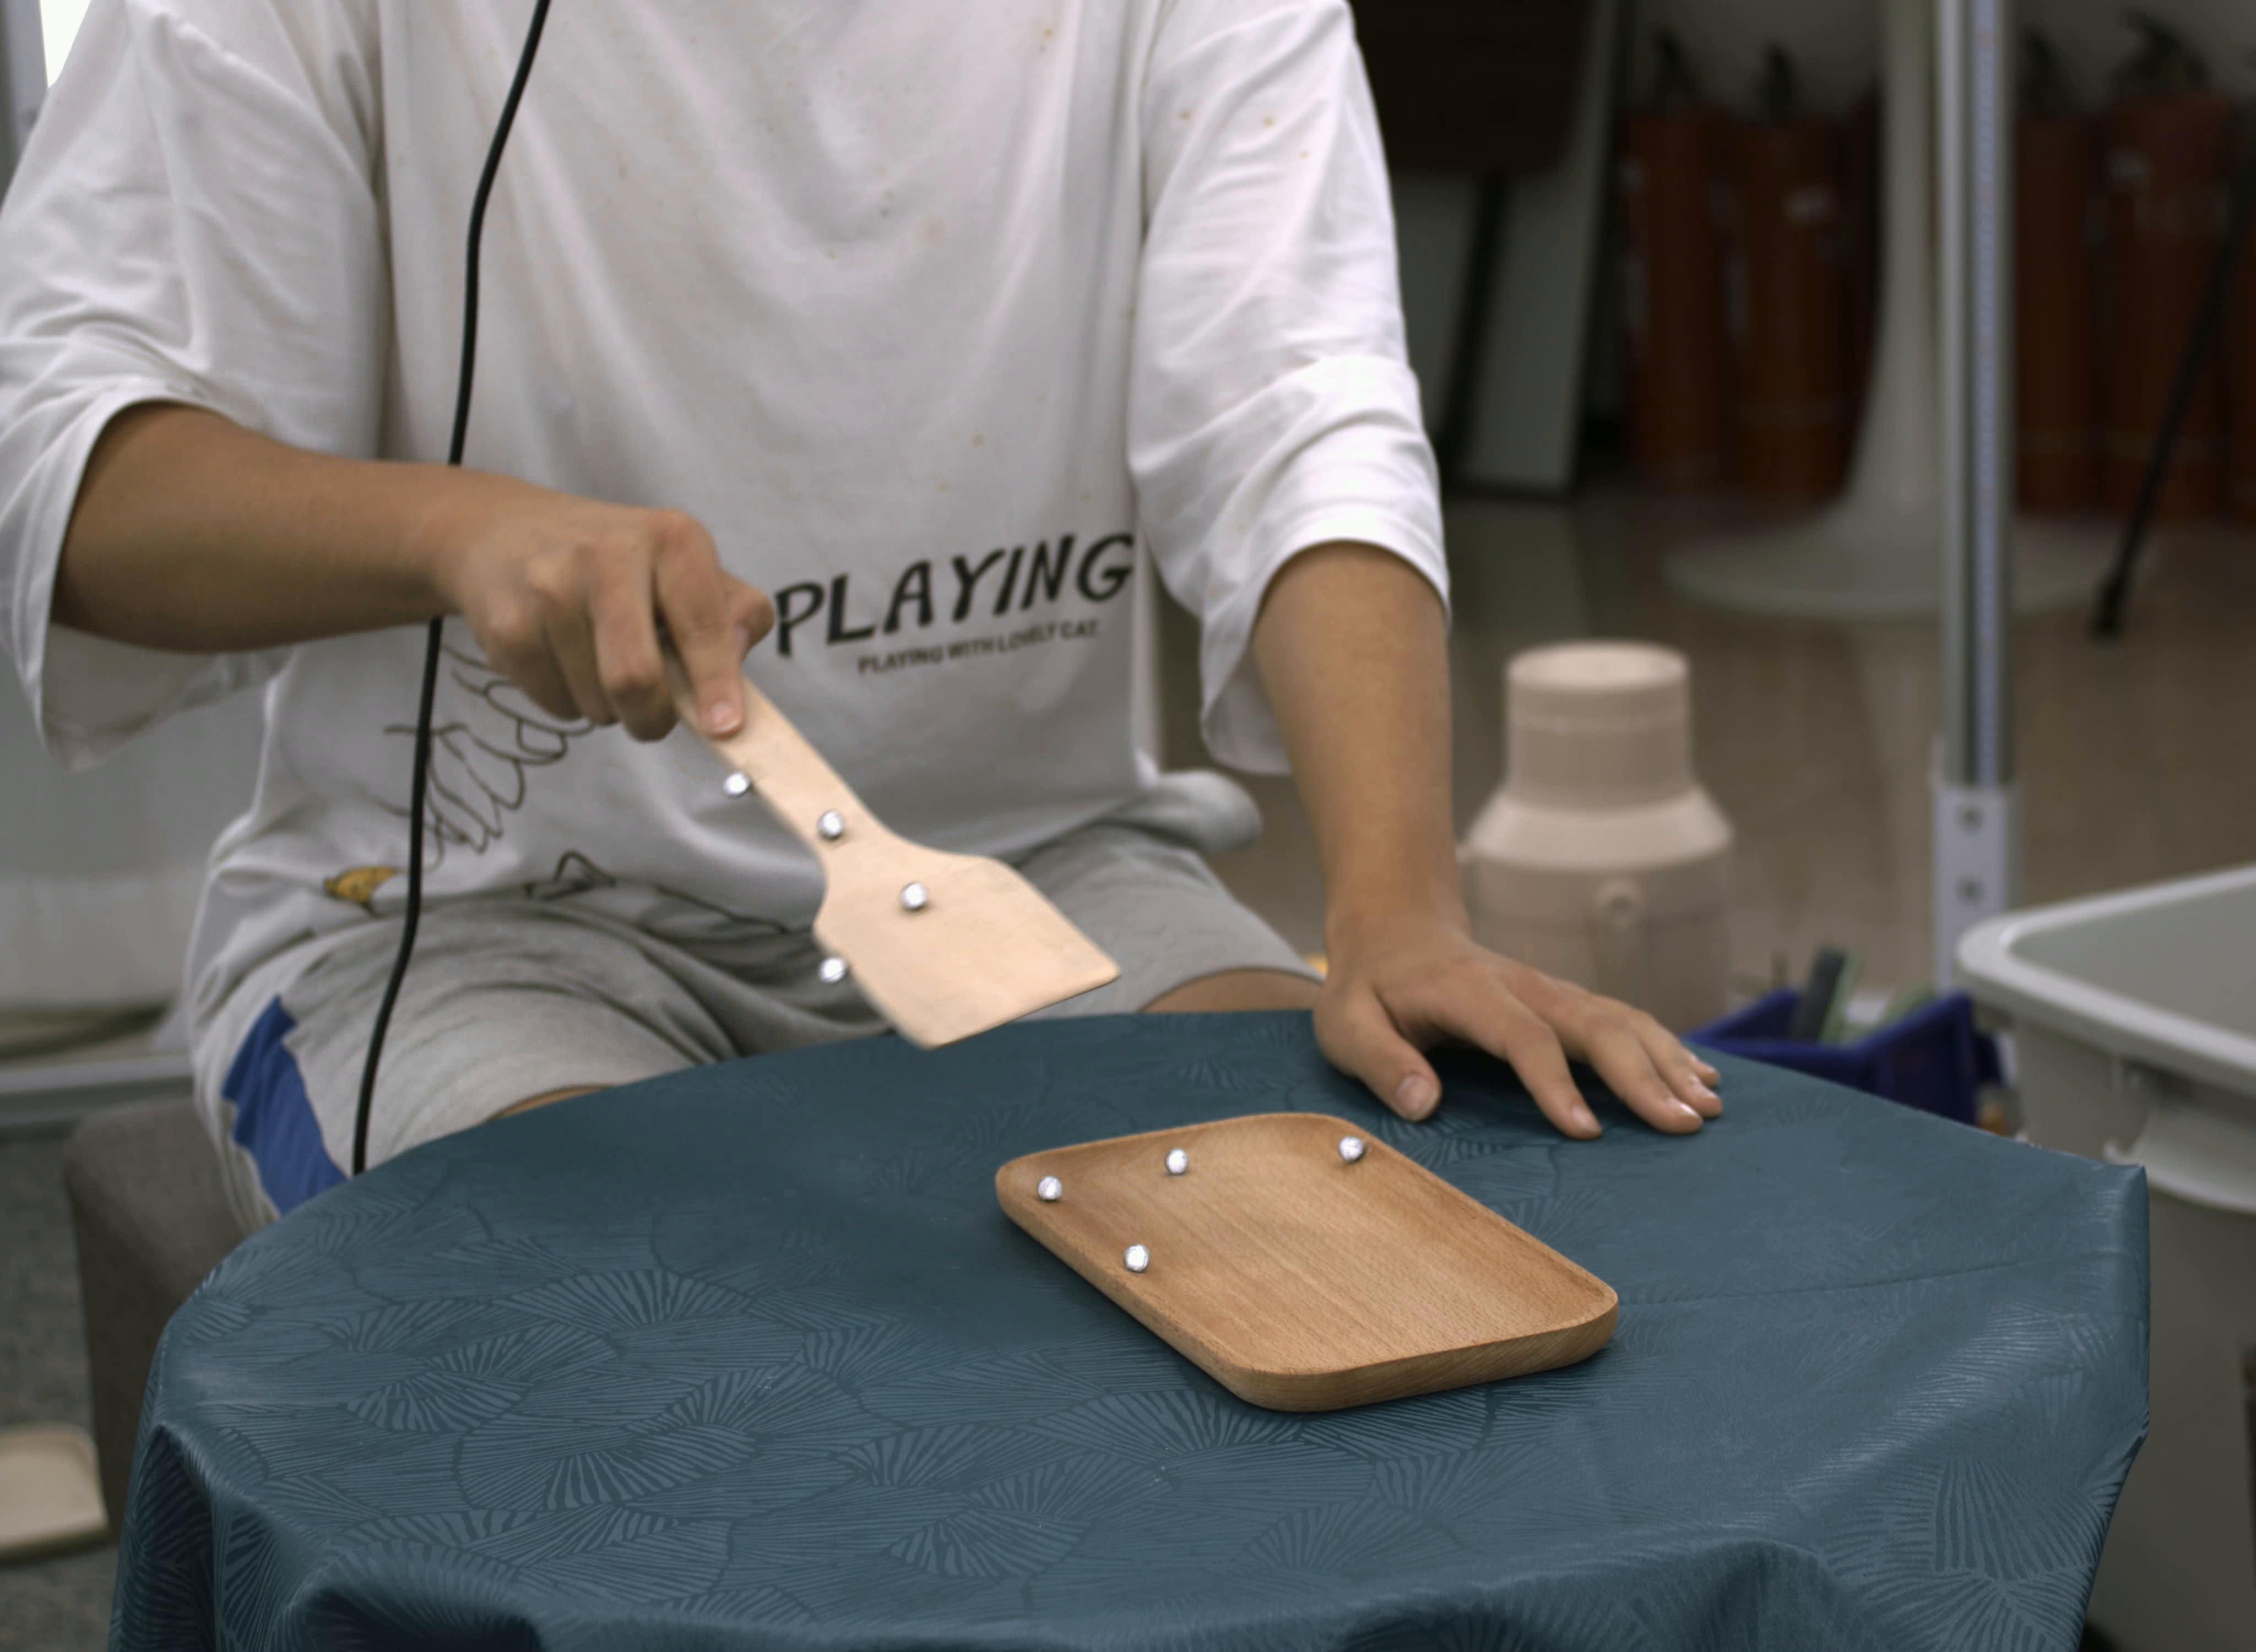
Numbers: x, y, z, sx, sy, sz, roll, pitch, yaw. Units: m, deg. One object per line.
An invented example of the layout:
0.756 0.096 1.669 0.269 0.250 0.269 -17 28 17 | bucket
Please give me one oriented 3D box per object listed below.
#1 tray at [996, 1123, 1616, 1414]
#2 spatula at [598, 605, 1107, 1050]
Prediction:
0.051 0.135 1.672 0.128 0.023 0.253 -11 15 -17 | tray
-0.105 -0.006 1.773 0.071 0.011 0.296 -21 36 -21 | spatula
